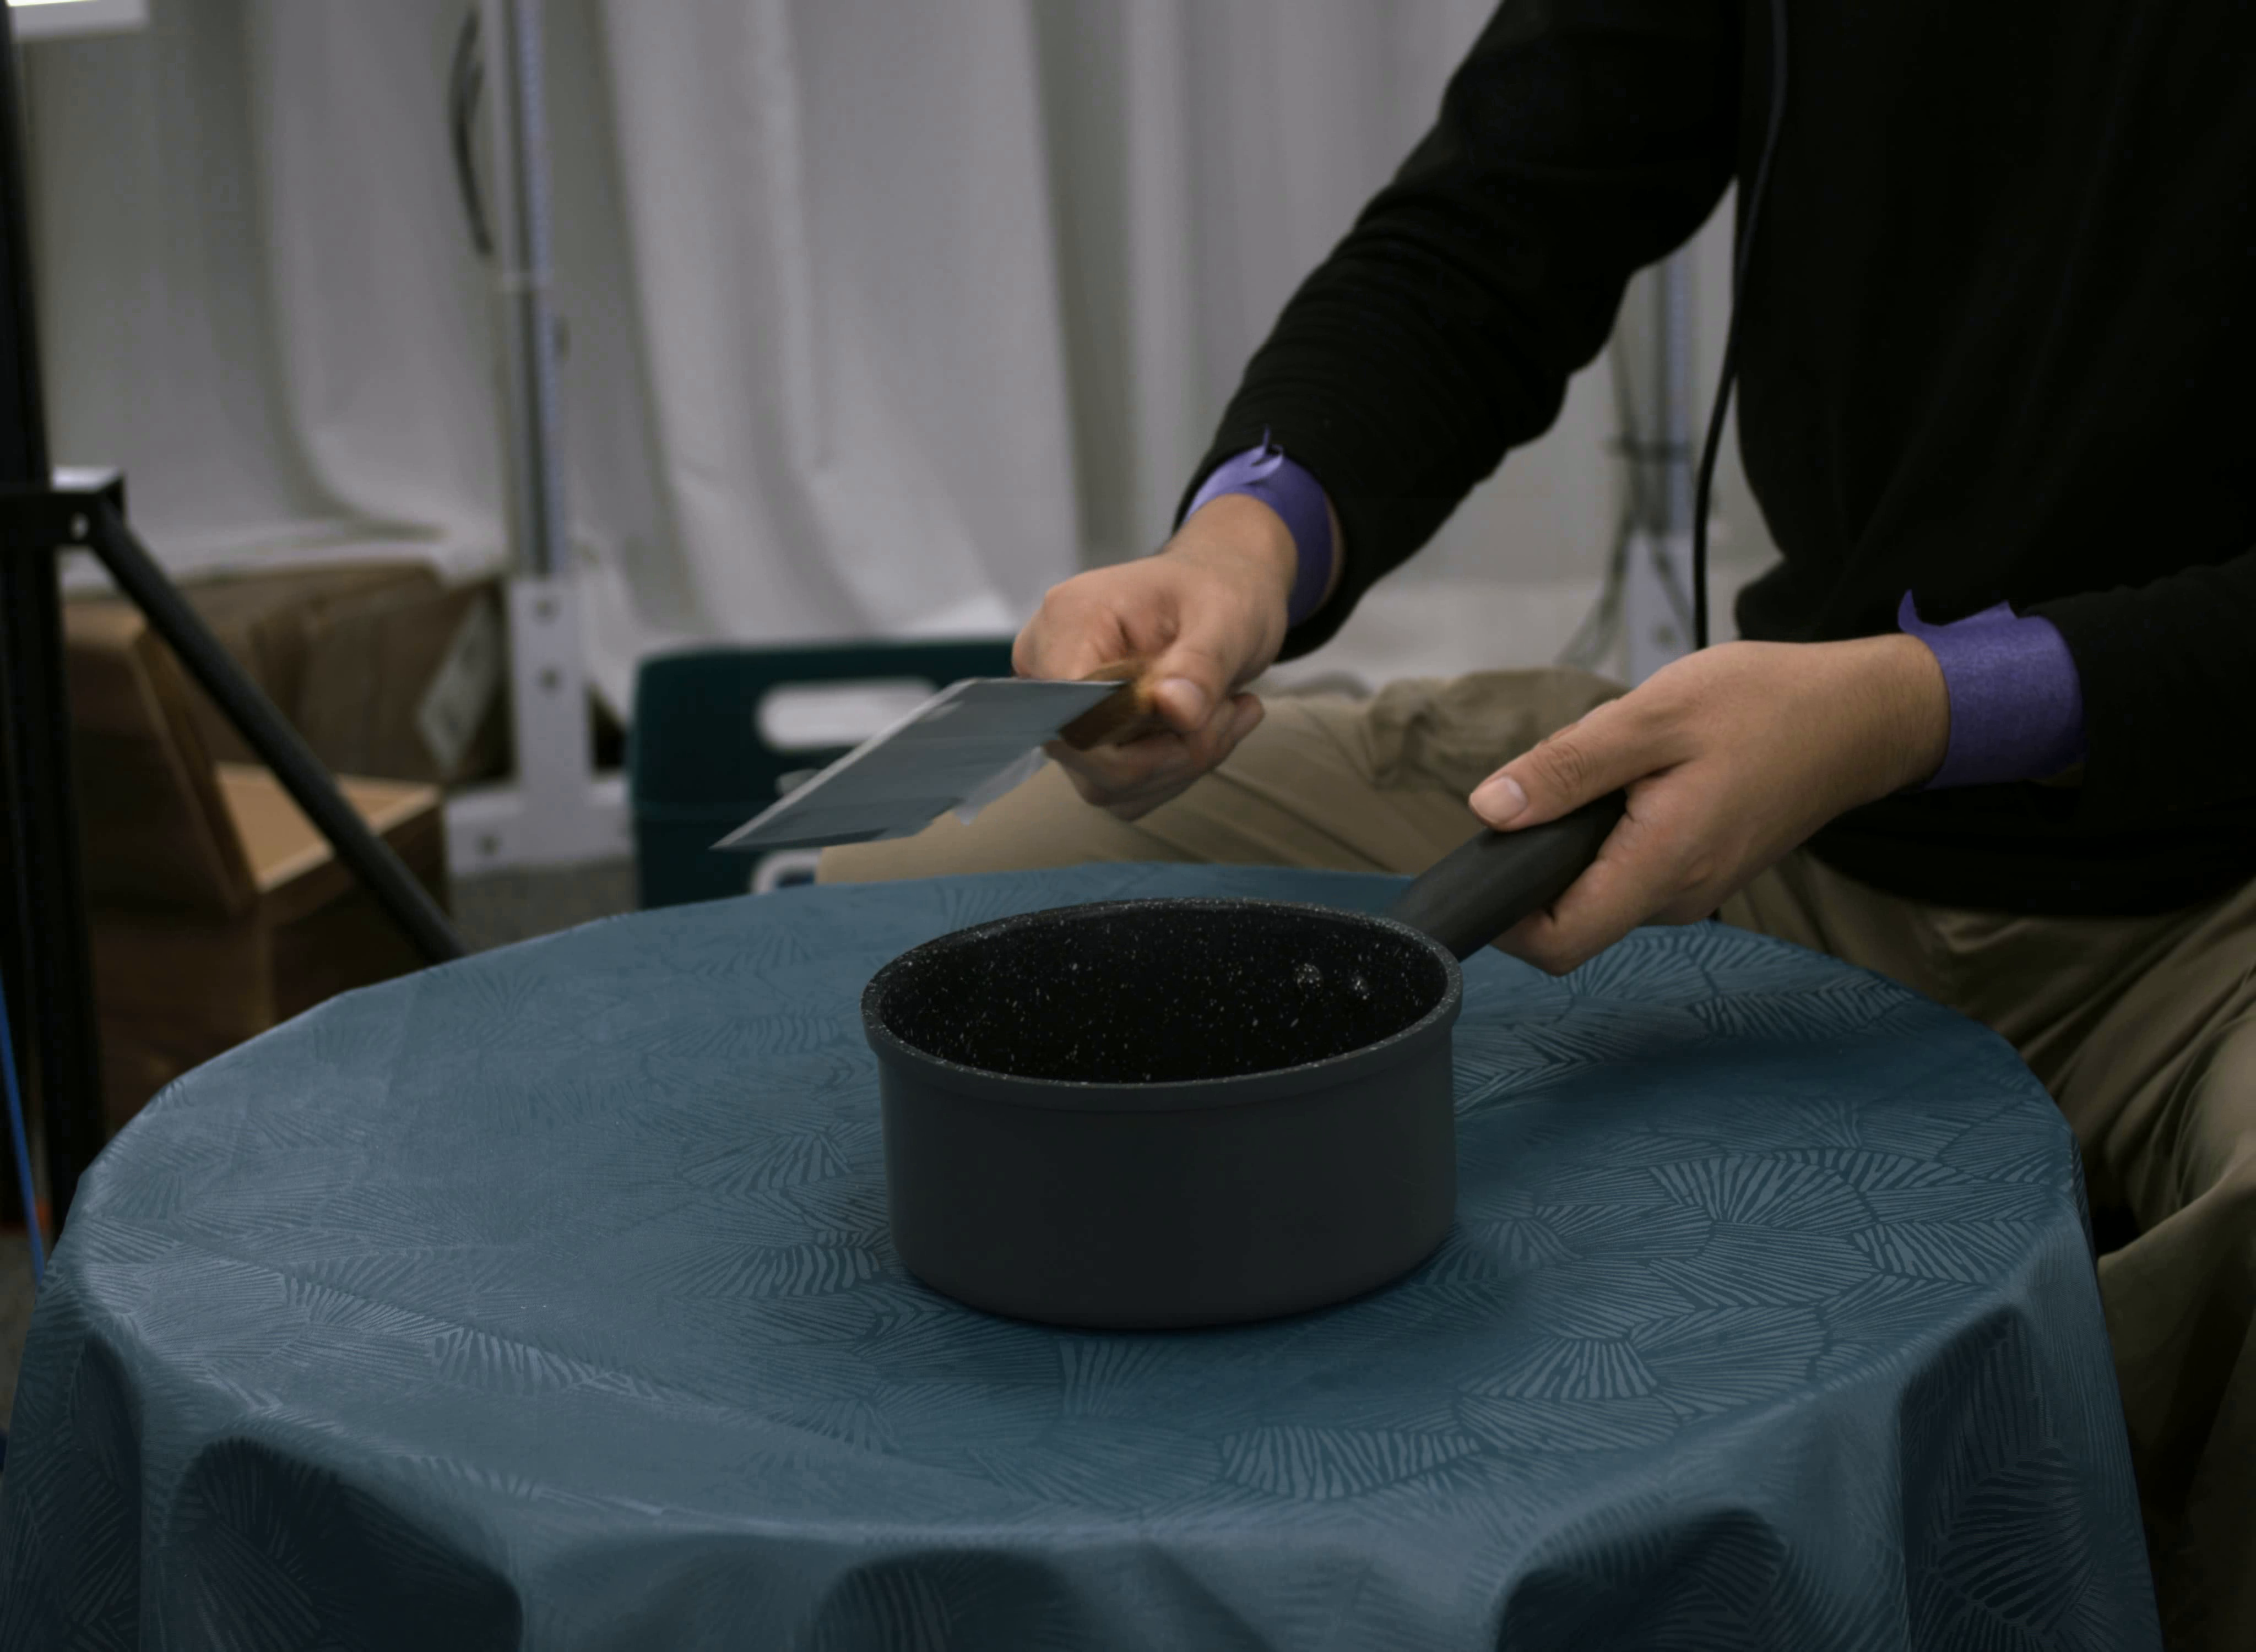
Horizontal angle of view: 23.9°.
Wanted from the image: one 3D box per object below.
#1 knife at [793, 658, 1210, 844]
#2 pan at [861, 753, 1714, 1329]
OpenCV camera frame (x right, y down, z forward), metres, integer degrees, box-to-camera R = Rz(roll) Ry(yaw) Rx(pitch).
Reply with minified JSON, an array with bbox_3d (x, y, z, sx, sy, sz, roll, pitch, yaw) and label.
[{"bbox_3d":[-0.038,-0.021,1.633,0.093,0.021,0.302,-33,-6,11],"label":"knife"},{"bbox_3d":[0.064,0.059,1.560,0.176,0.086,0.321,12,23,42],"label":"pan"}]
